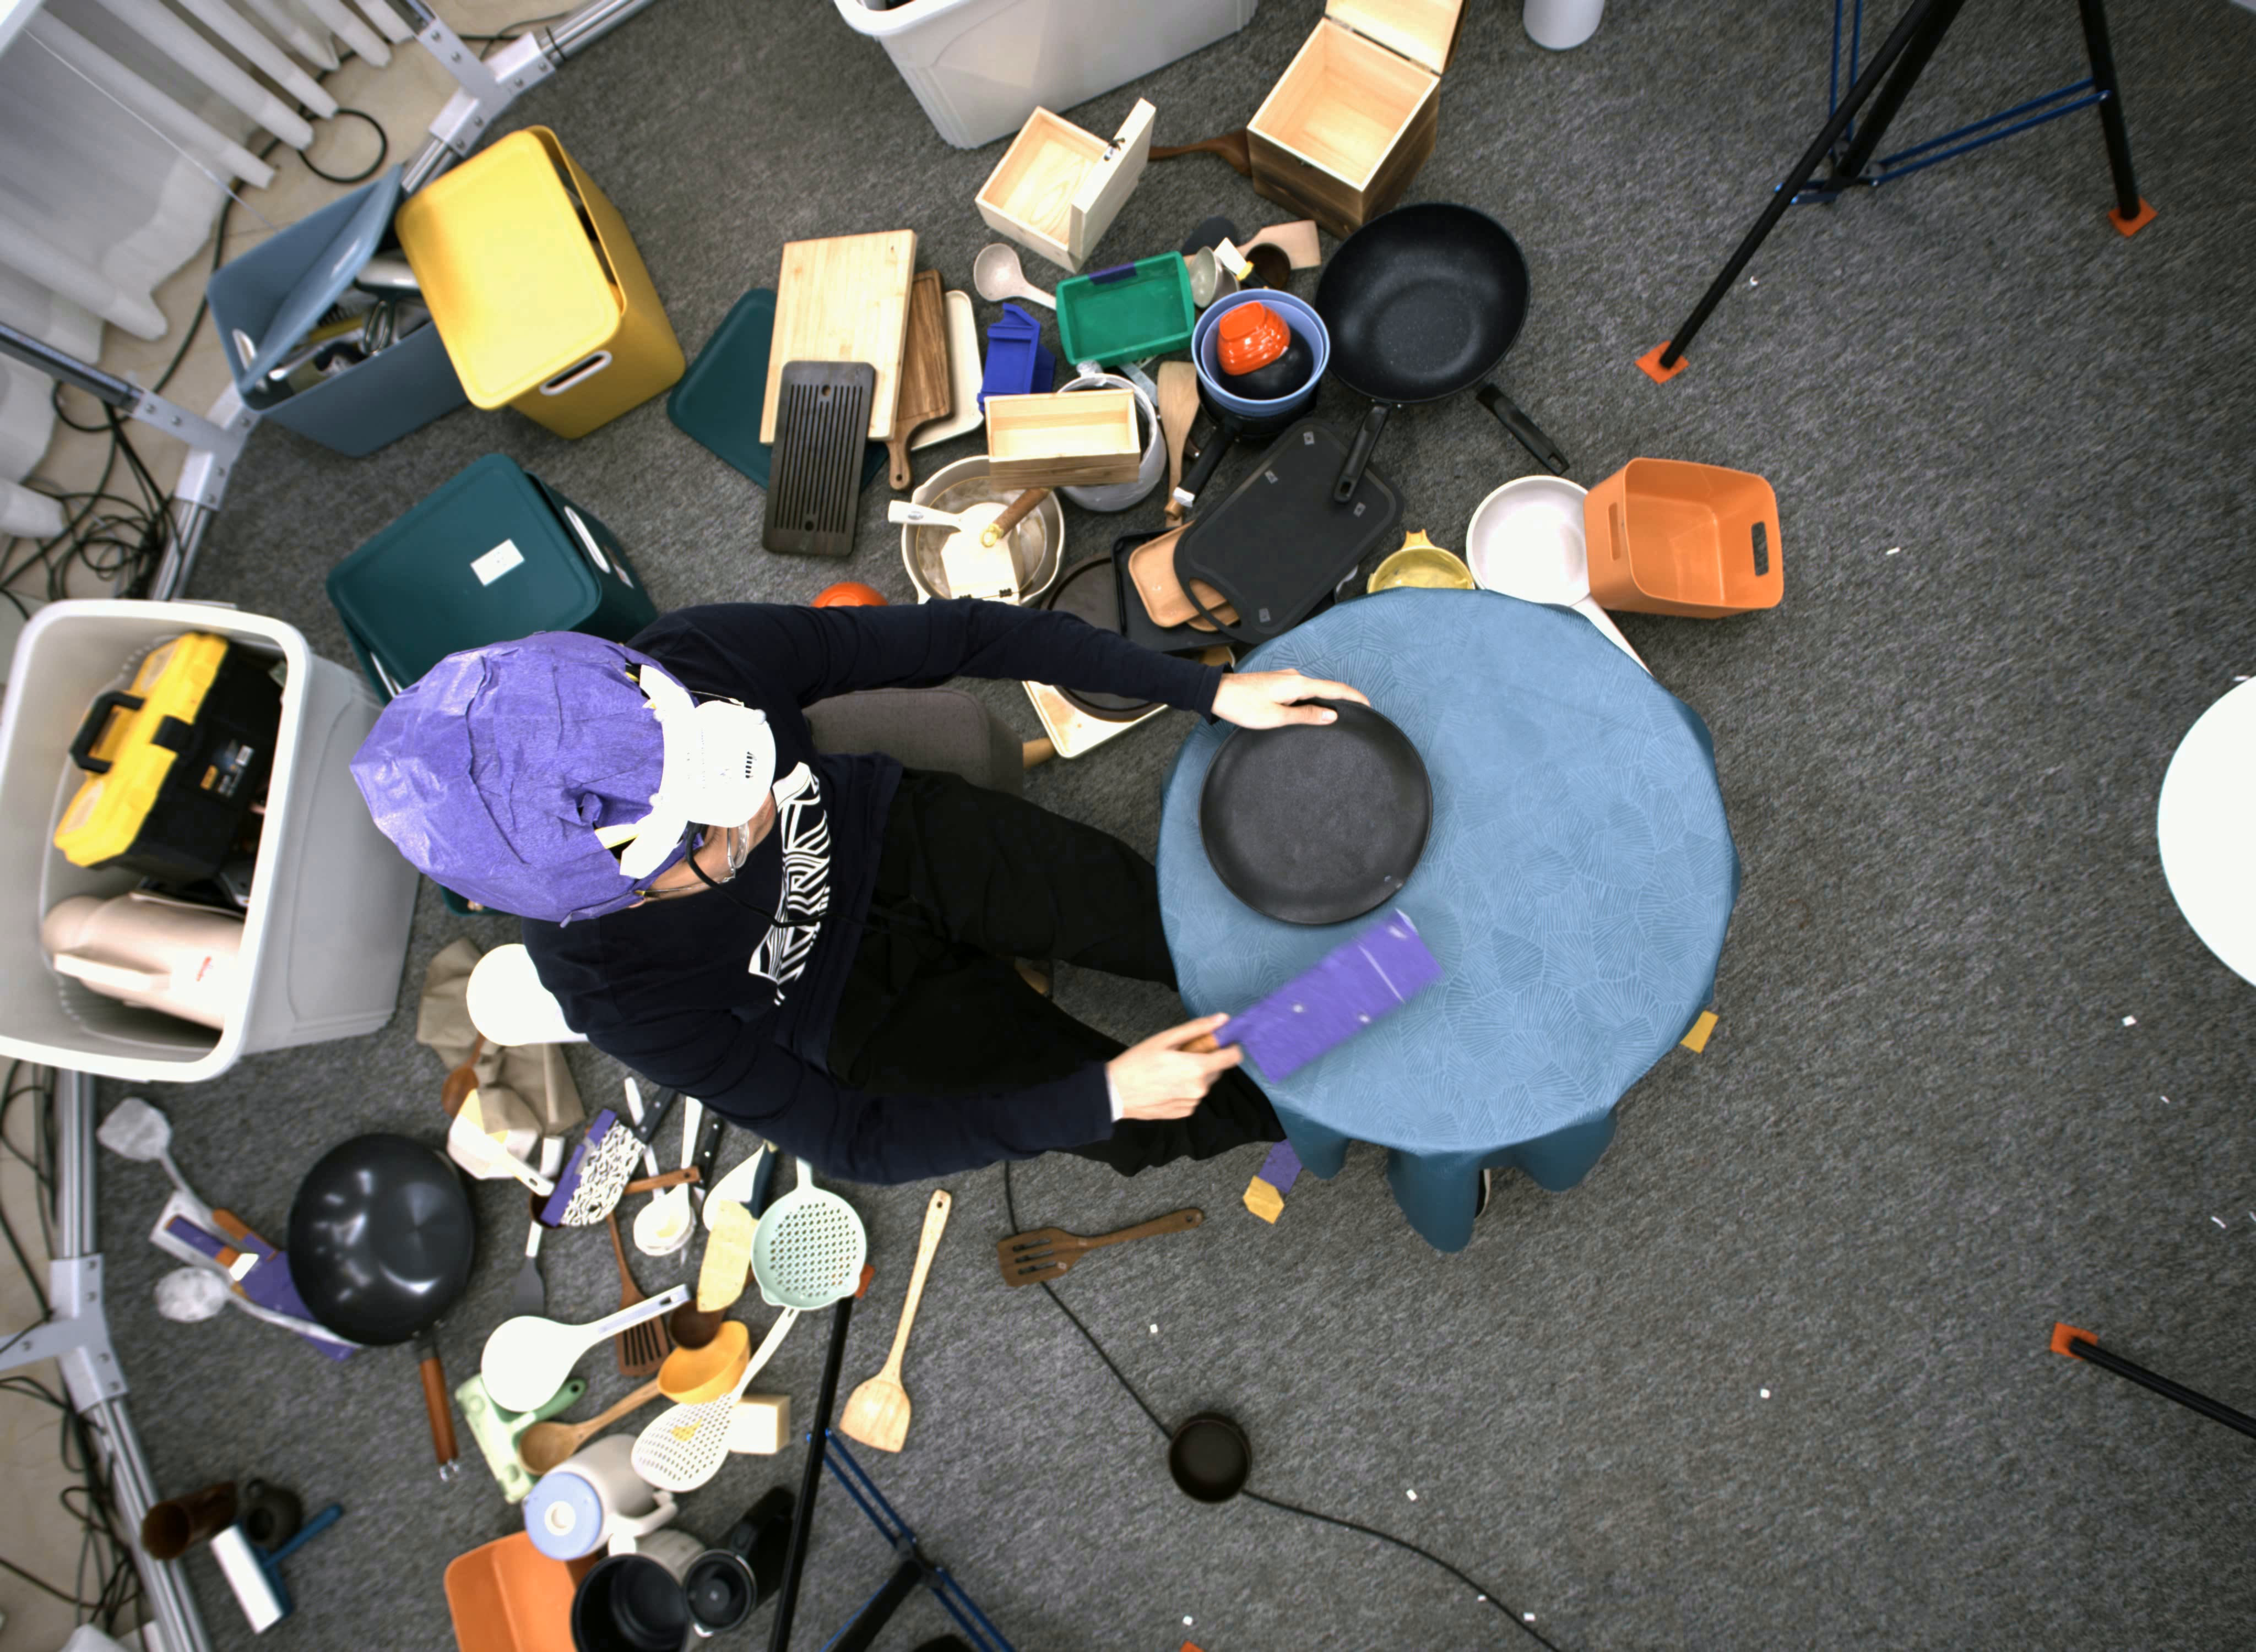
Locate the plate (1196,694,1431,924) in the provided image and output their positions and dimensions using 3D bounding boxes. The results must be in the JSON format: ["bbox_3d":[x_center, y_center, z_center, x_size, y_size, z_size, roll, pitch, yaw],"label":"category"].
[{"bbox_3d":[0.192,-0.018,1.438,0.245,0.023,0.247,1,105,3],"label":"plate"}]

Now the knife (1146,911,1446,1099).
[{"bbox_3d":[0.172,0.203,1.390,0.317,0.031,0.105,-32,113,10],"label":"knife"}]
